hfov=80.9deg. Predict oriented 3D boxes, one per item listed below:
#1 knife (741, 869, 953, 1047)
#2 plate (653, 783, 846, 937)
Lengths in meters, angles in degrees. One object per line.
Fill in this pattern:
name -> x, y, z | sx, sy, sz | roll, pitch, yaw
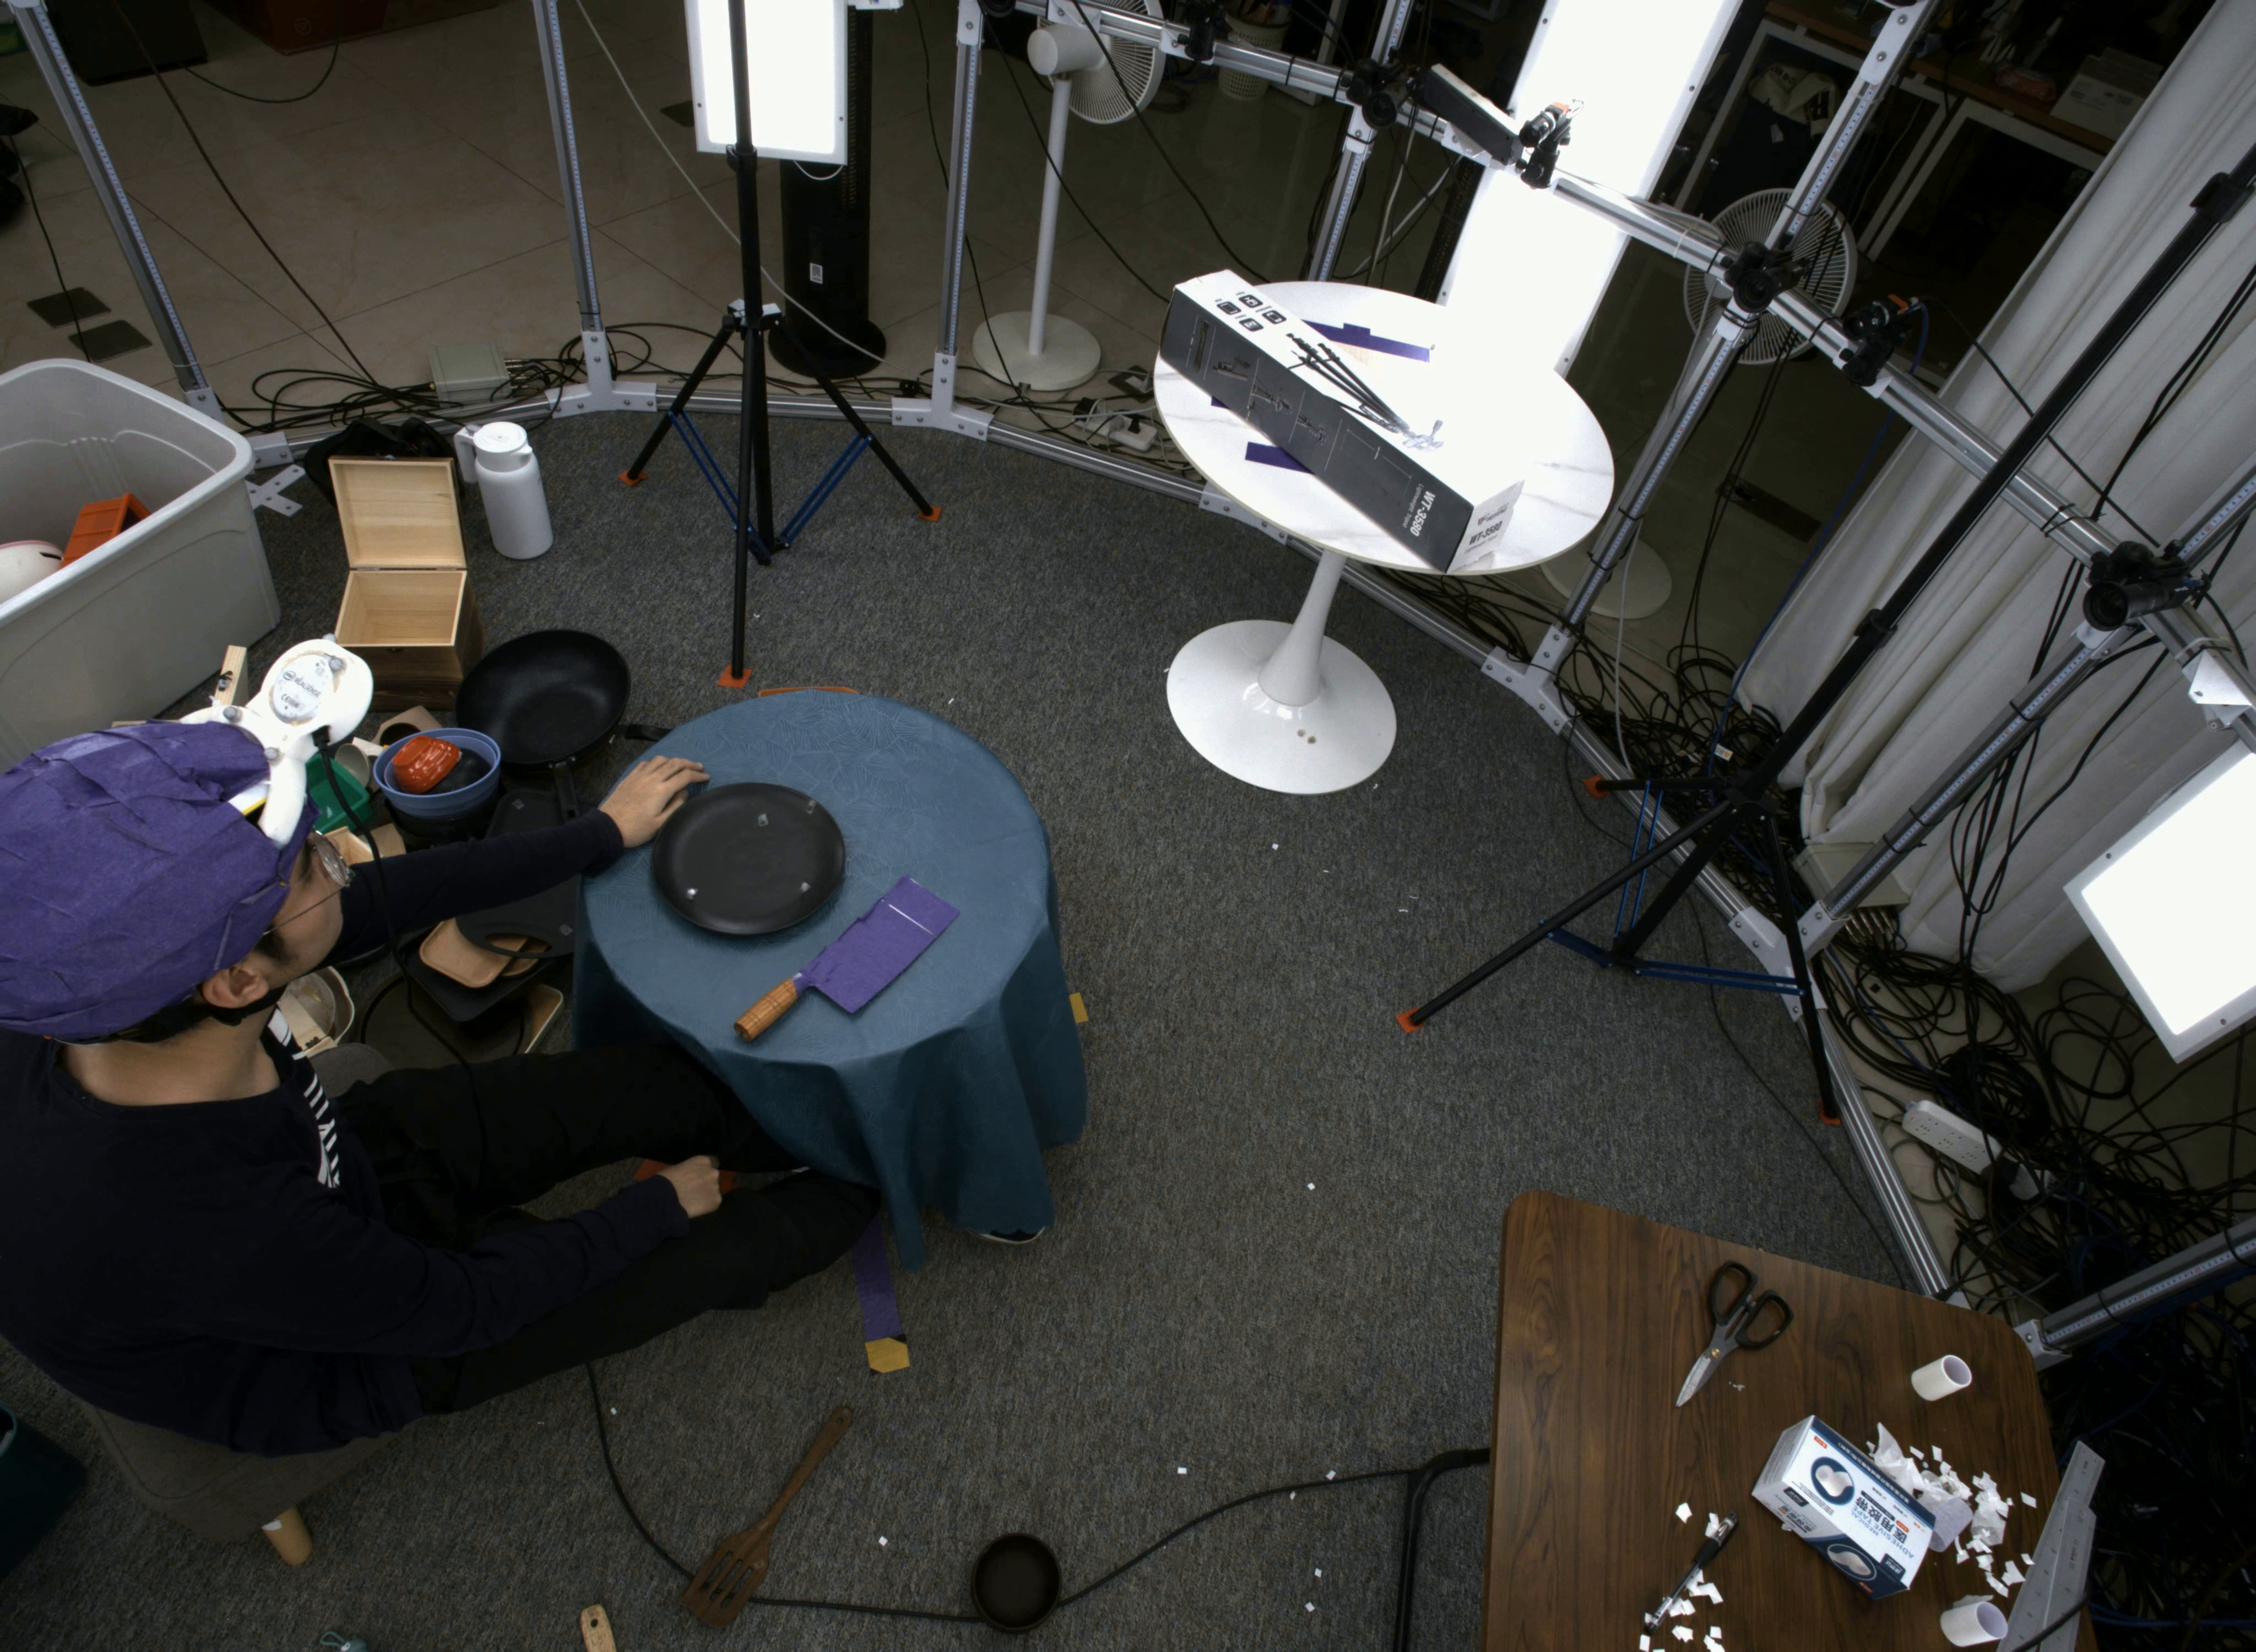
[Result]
knife -> -0.339, 0.170, 1.614 | 0.102, 0.033, 0.315 | 33, 53, 12
plate -> -0.487, 0.044, 1.672 | 0.244, 0.024, 0.240 | 8, 52, -9
